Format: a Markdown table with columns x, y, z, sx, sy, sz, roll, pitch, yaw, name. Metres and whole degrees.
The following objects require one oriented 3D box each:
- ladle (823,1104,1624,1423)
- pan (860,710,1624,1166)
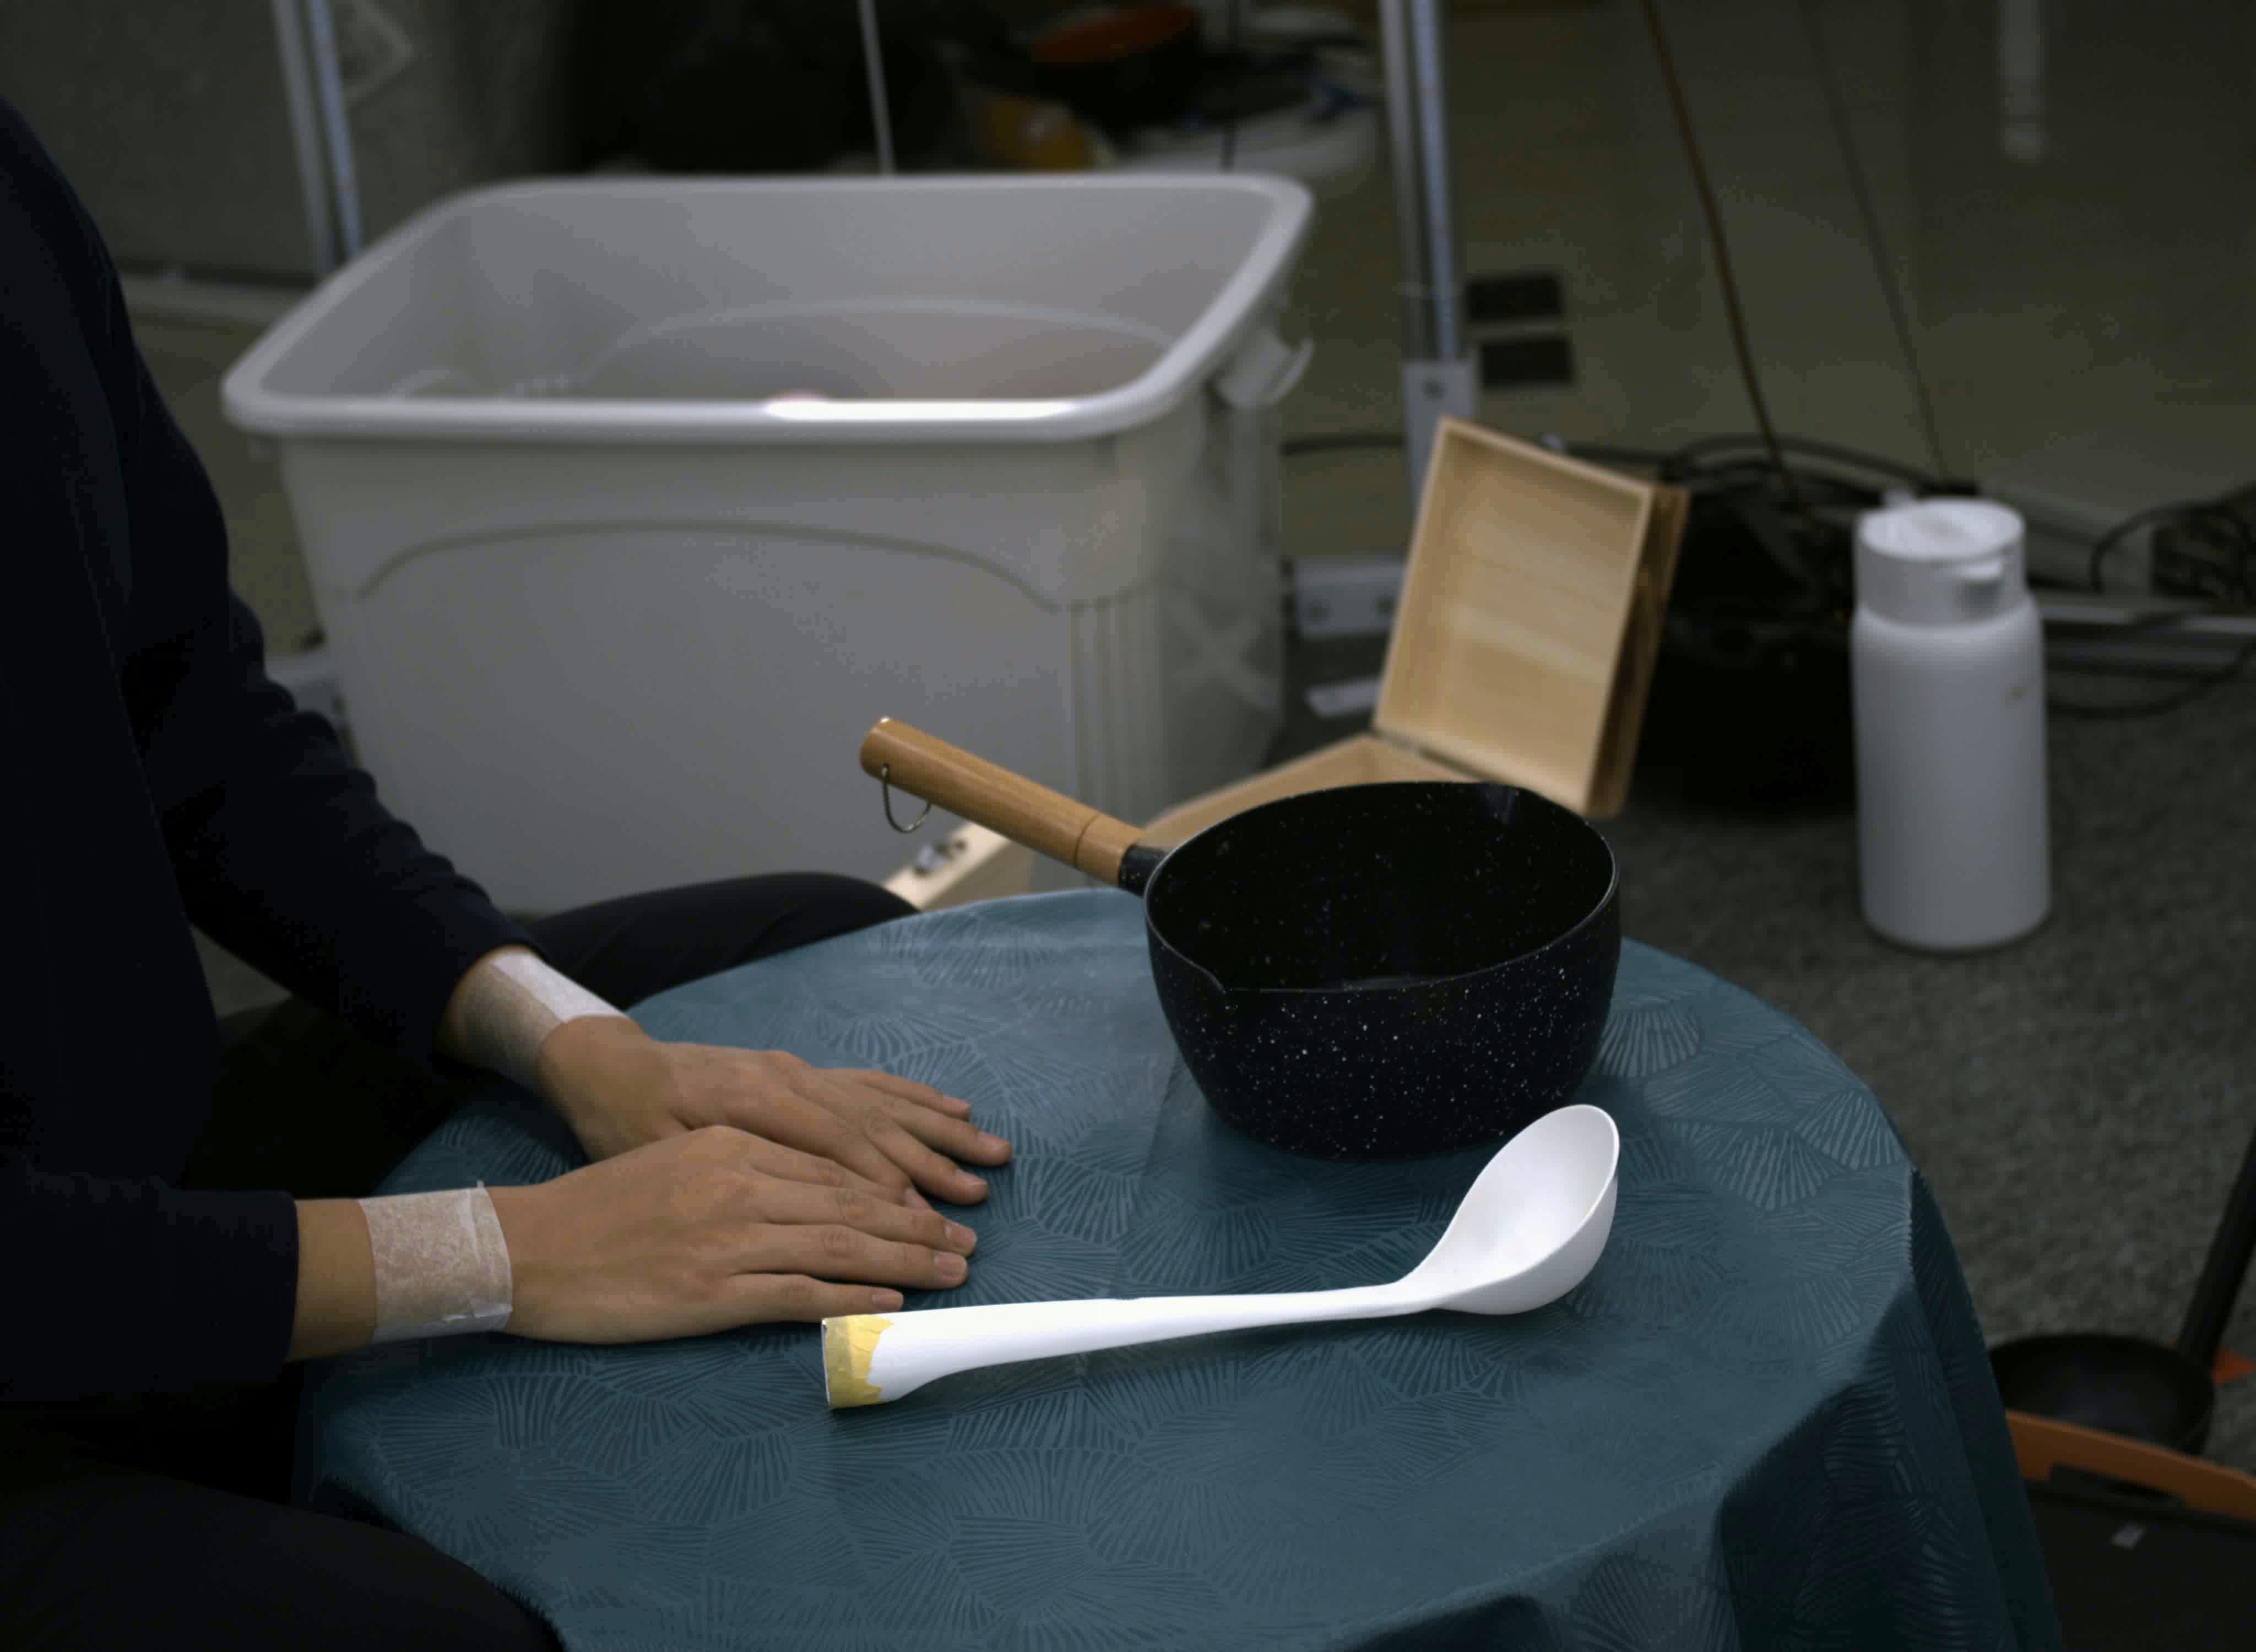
| x | y | z | sx | sy | sz | roll | pitch | yaw | name |
| --- | --- | --- | --- | --- | --- | --- | --- | --- | --- |
| 0.034 | 0.160 | 2.017 | 0.292 | 0.071 | 0.088 | -8 | 32 | -2 | ladle |
| 0.035 | 0.035 | 2.231 | 0.341 | 0.110 | 0.205 | 13 | 32 | 32 | pan |
